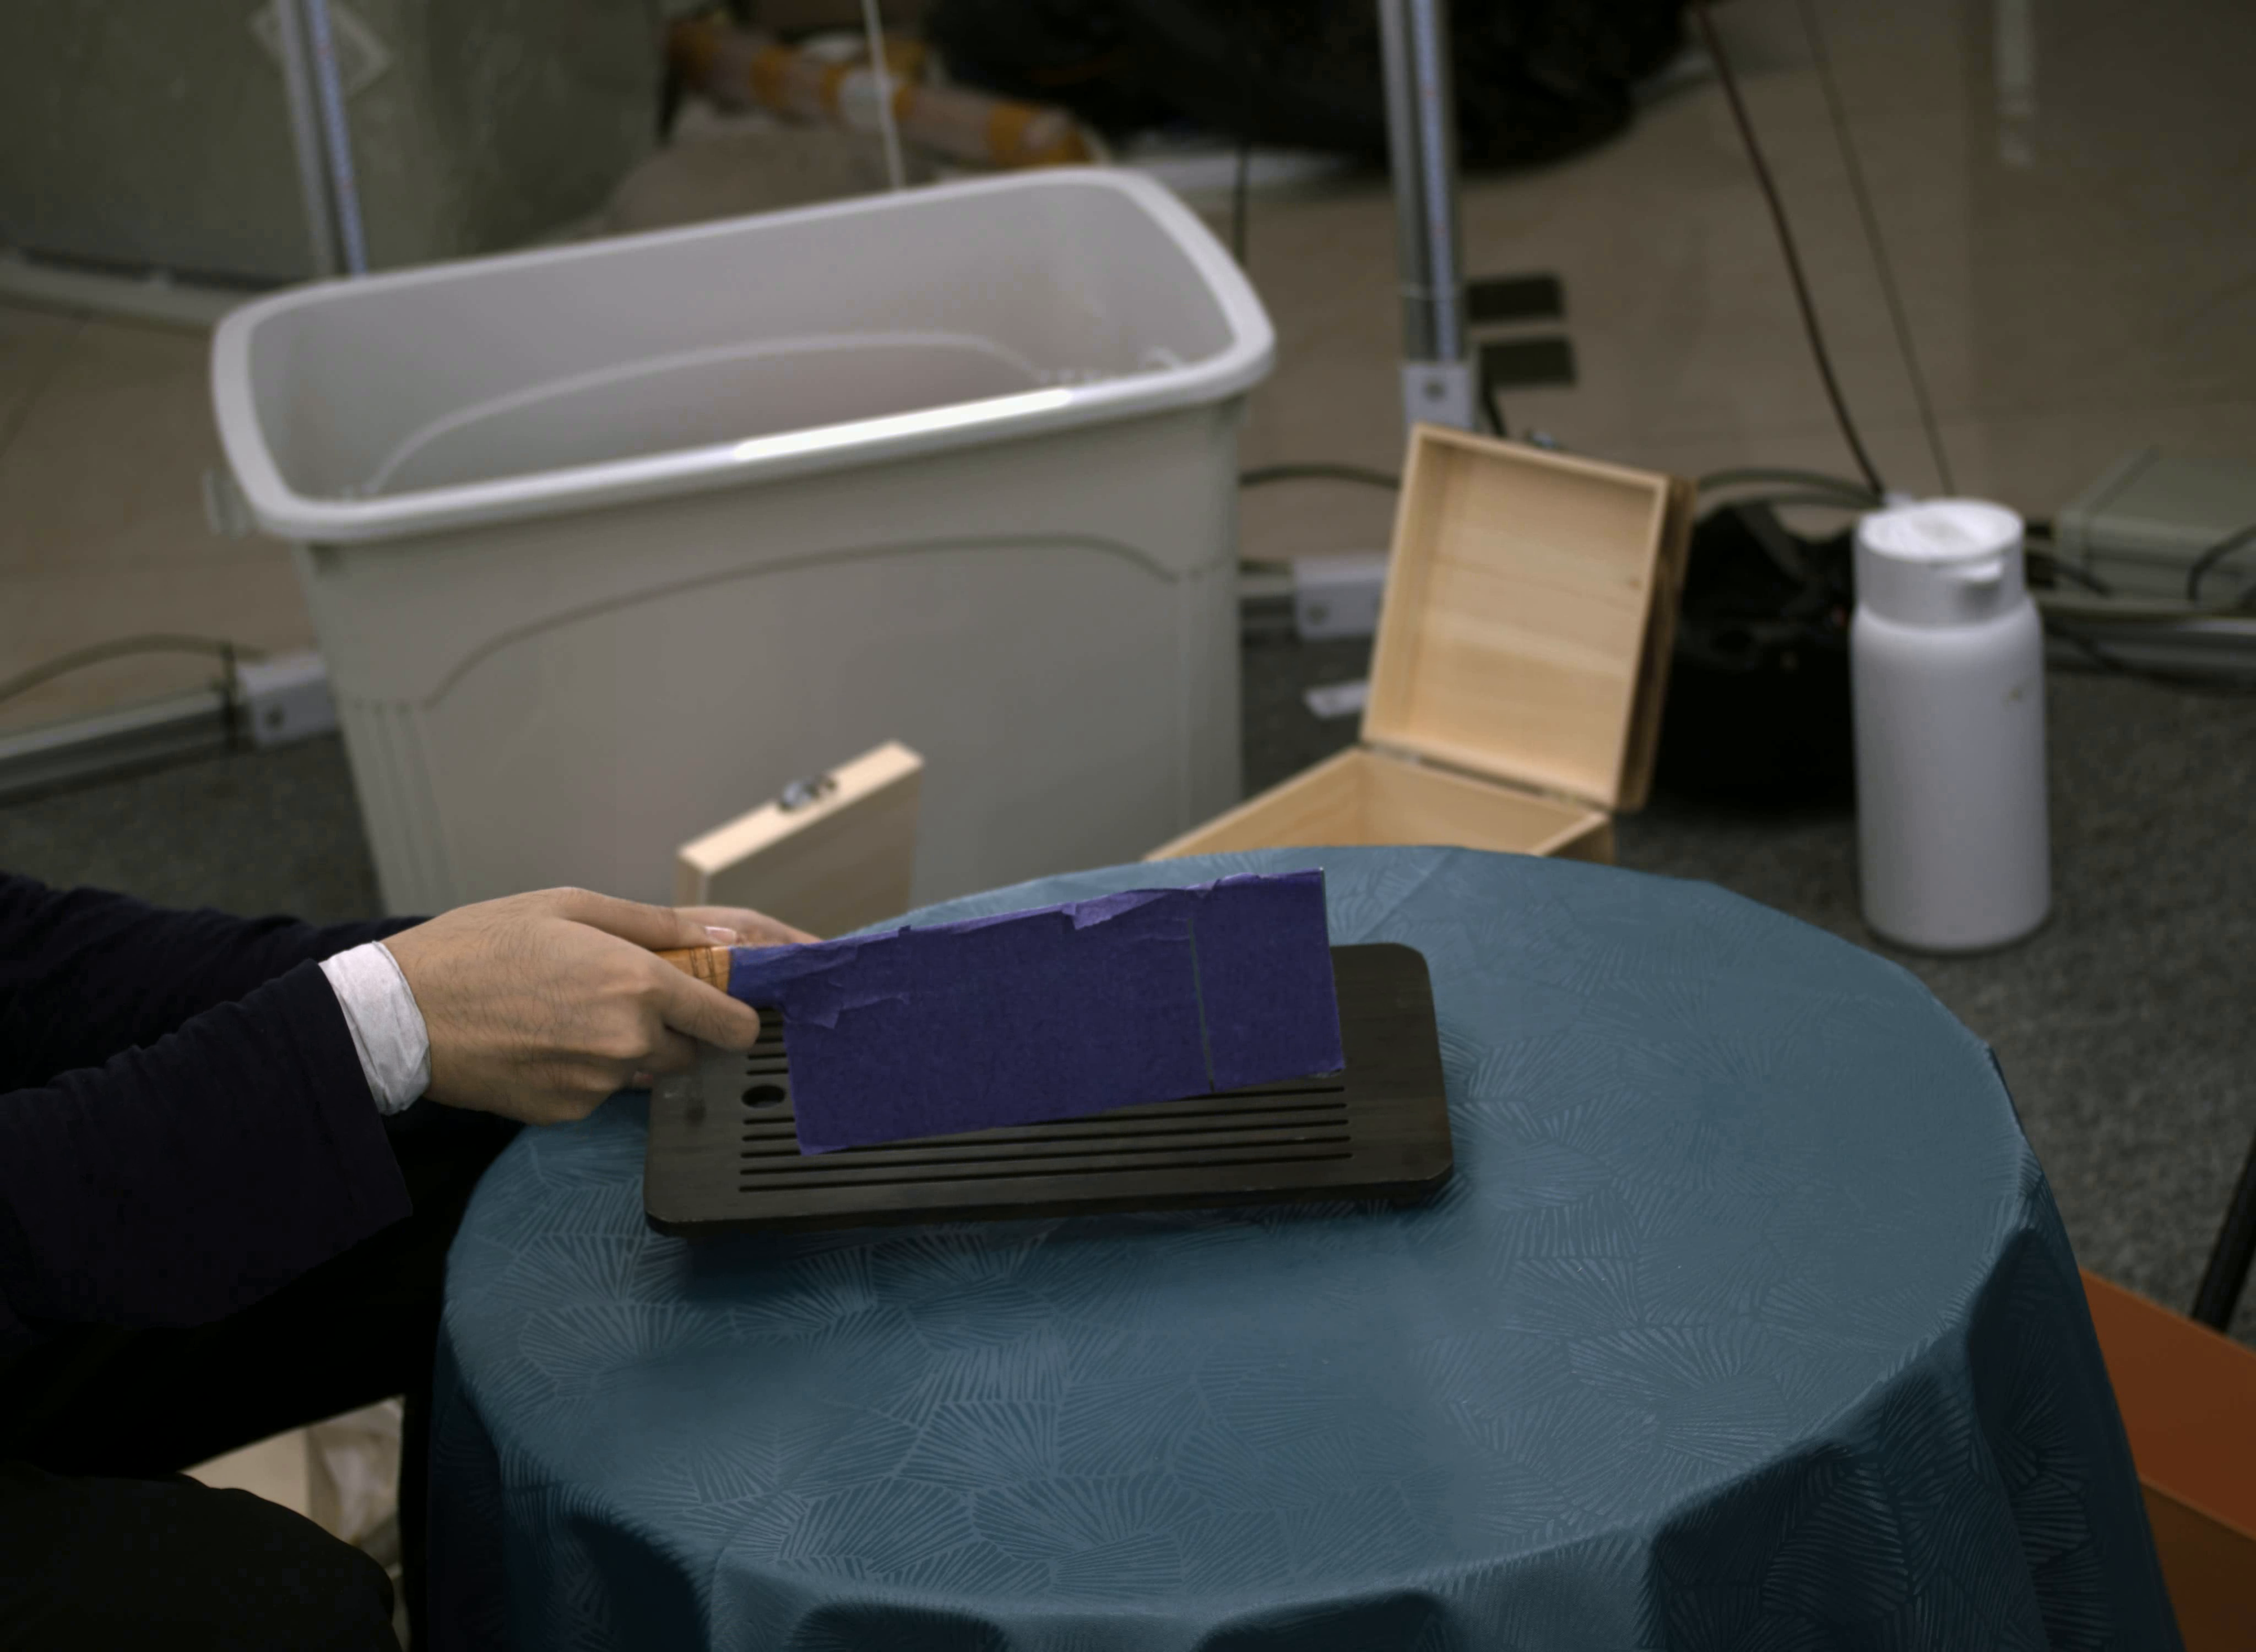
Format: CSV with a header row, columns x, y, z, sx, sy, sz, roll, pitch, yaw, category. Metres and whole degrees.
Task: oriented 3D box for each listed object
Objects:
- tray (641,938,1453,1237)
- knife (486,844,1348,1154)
x,y,z,sx,sy,sz,roll,pitch,yaw,category
-0.032,0.101,2.183,0.305,0.019,0.167,-3,31,0,tray
-0.074,0.076,2.086,0.315,0.105,0.031,-8,30,-3,knife
